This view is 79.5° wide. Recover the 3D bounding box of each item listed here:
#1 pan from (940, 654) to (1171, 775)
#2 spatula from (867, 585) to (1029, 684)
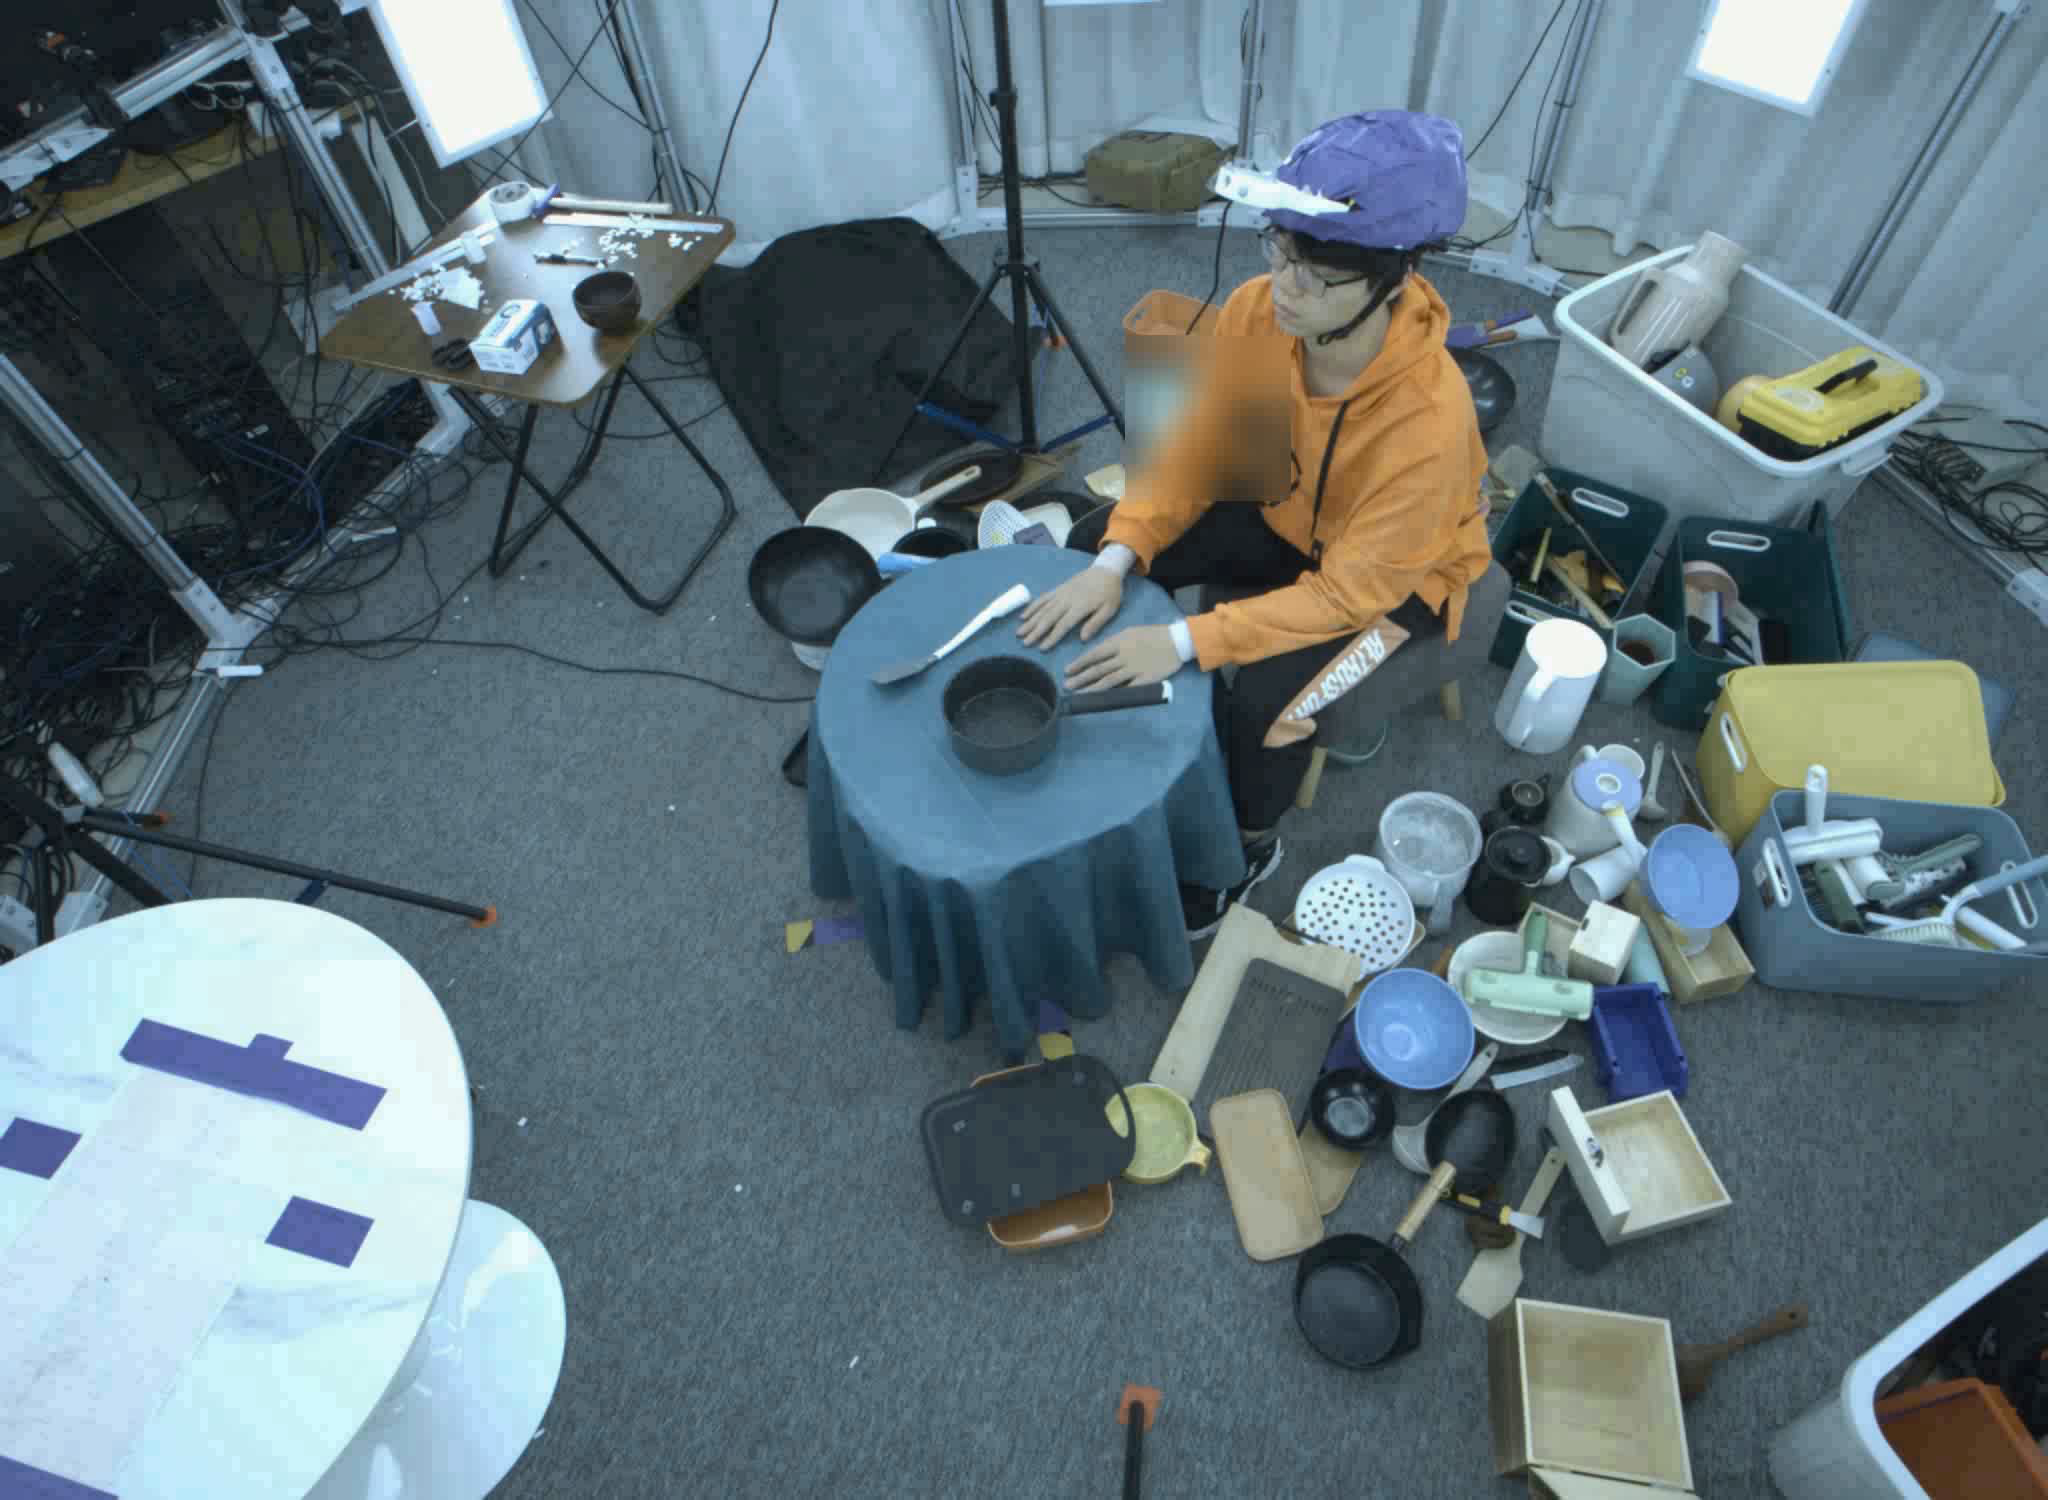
[{"bbox_3d":[0.047,-0.053,1.771,0.328,0.087,0.170,-1,56,4],"label":"pan"},{"bbox_3d":[-0.114,-0.172,1.893,0.290,0.033,0.057,-34,37,-21],"label":"spatula"}]
